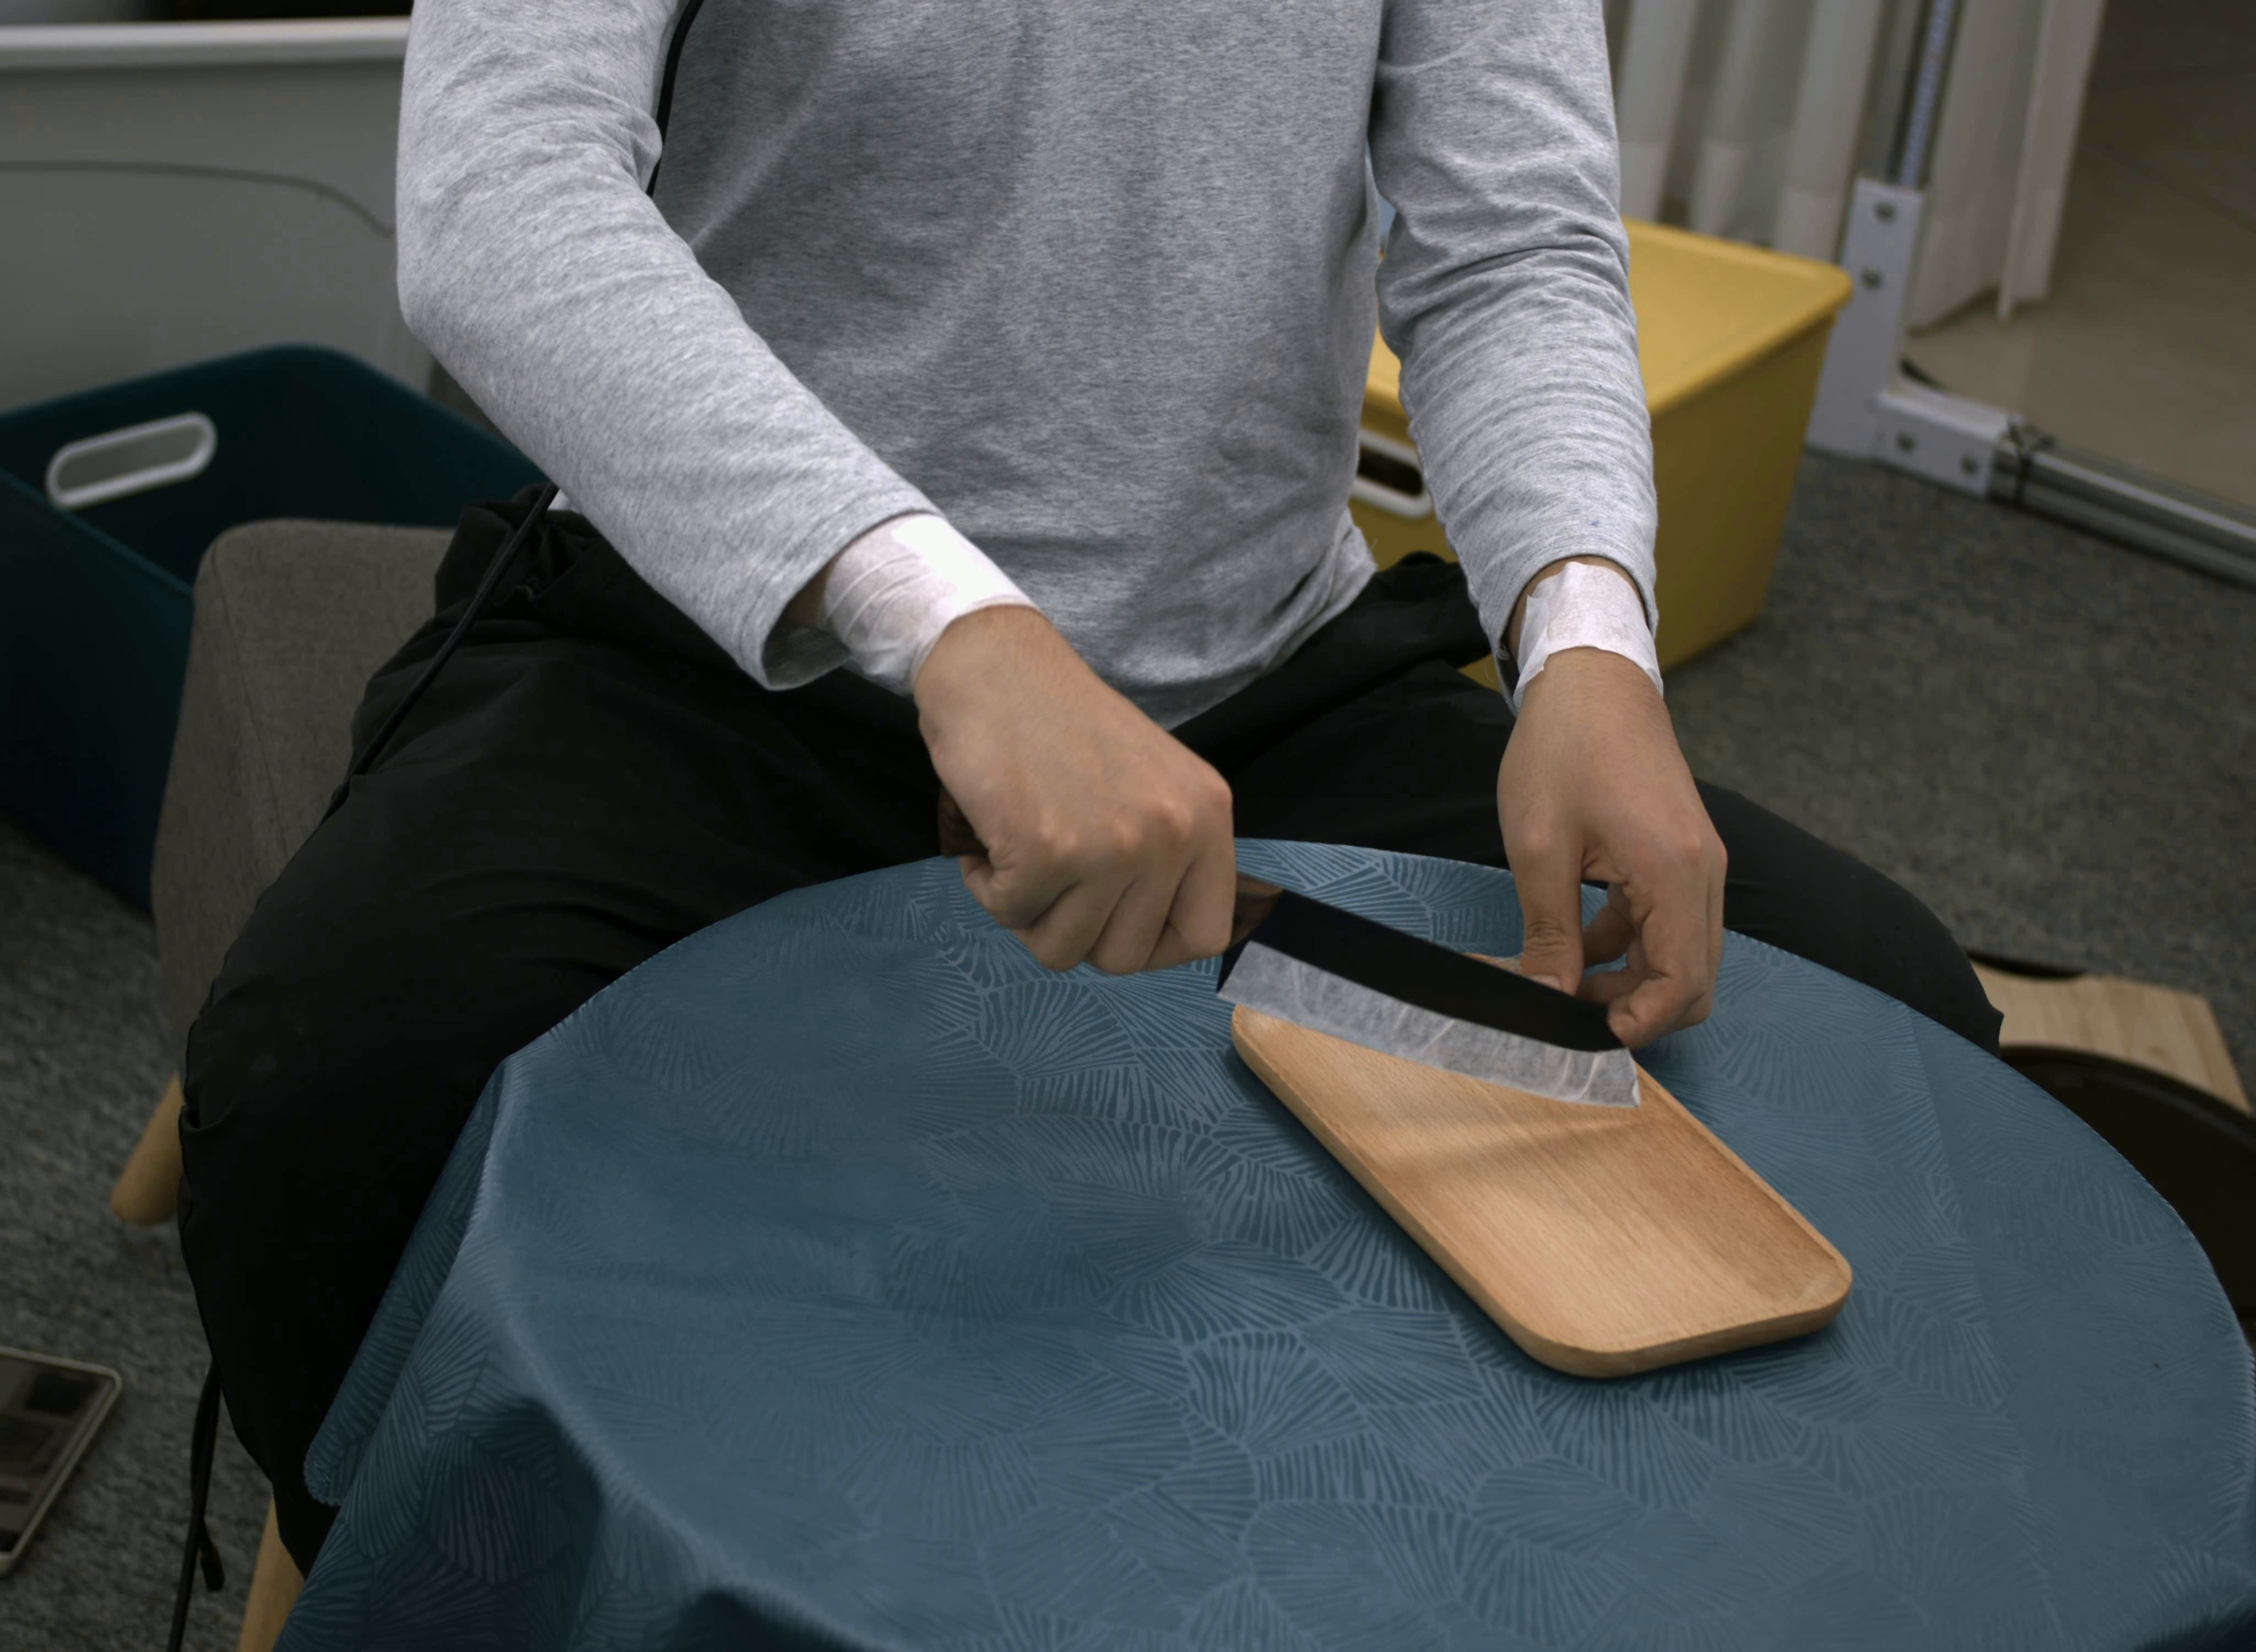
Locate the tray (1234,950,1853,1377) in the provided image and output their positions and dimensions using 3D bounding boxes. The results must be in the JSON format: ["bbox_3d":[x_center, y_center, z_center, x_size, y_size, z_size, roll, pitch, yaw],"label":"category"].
[{"bbox_3d":[0.139,0.113,1.836,0.130,0.023,0.253,-7,29,-25],"label":"tray"}]

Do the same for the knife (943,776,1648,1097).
[{"bbox_3d":[0.060,0.041,1.801,0.287,0.050,0.020,22,16,-23],"label":"knife"}]
